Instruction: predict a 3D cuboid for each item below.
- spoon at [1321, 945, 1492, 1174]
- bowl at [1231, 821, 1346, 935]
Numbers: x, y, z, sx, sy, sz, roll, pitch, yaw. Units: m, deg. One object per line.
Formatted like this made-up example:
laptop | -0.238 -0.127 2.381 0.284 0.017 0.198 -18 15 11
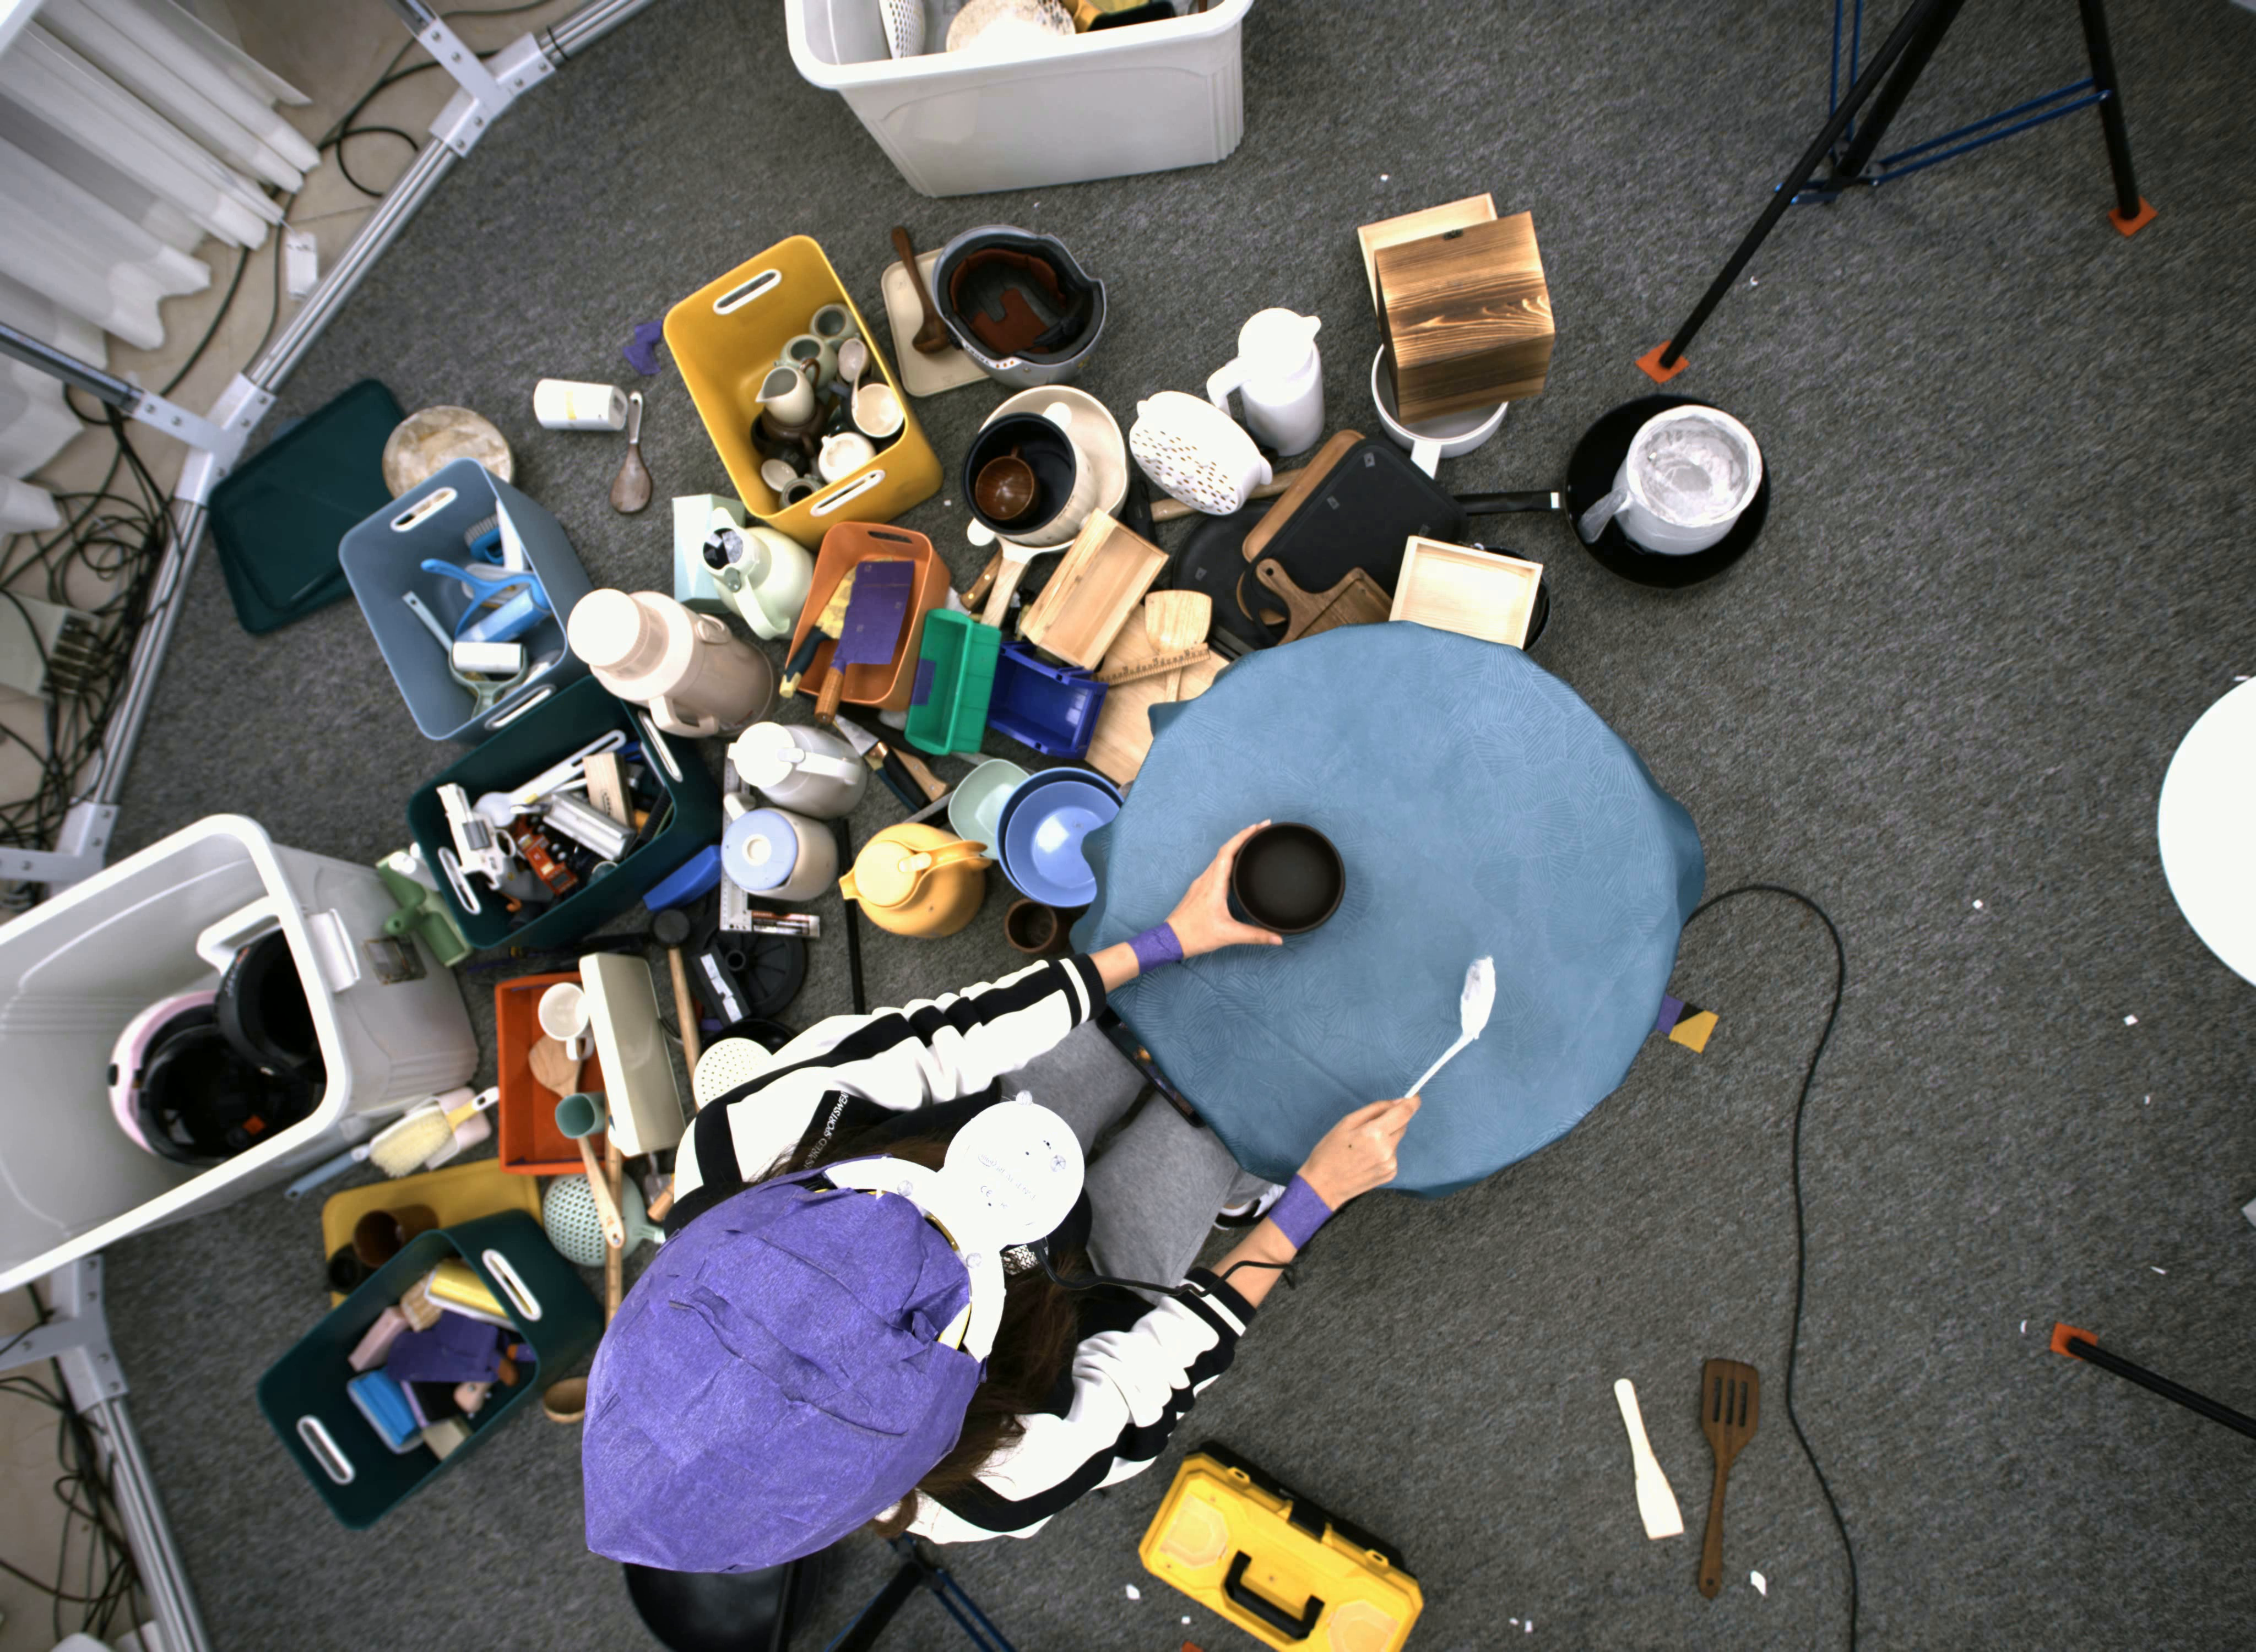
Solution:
spoon | 0.271 0.233 1.379 0.059 0.099 0.281 43 105 0
bowl | 0.168 0.055 1.443 0.118 0.070 0.117 -1 85 10
